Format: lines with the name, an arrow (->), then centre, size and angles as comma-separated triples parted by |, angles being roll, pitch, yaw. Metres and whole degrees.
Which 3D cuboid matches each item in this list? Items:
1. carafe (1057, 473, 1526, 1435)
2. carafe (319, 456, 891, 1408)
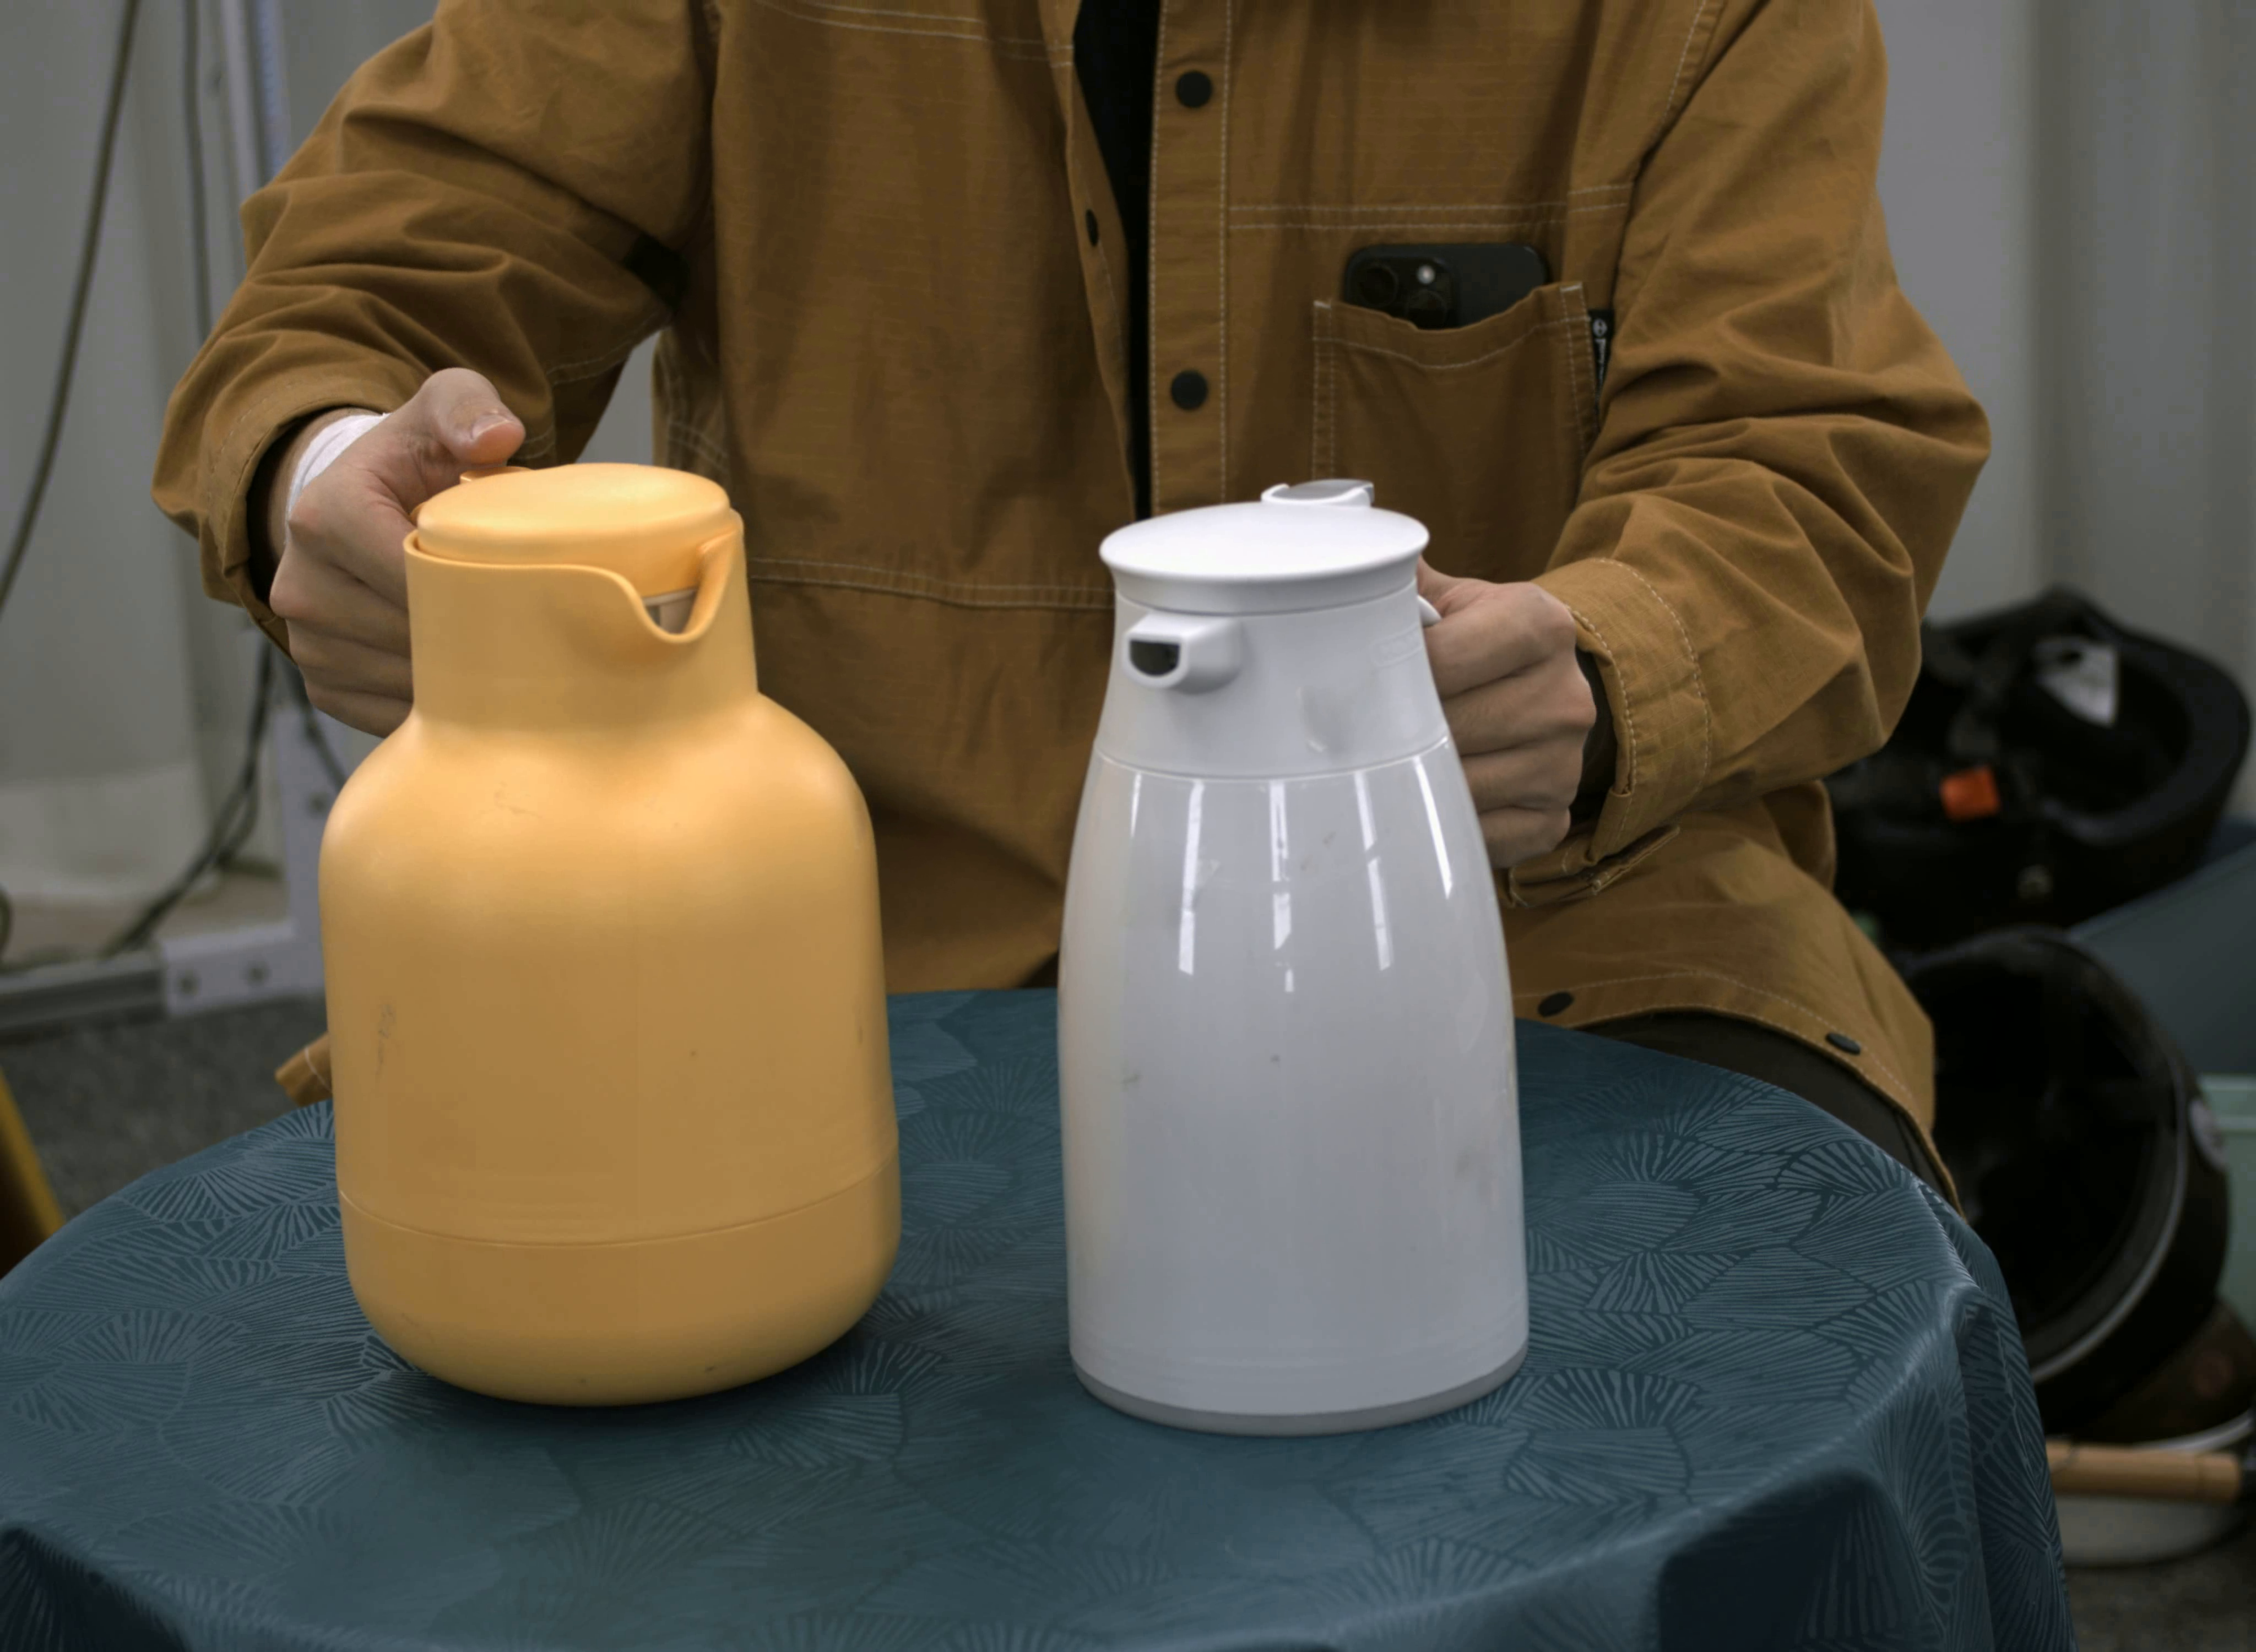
carafe -> 0.052, 0.027, 1.553 | 0.133, 0.248, 0.168 | 5, 15, 30
carafe -> -0.159, 0.022, 1.592 | 0.162, 0.259, 0.204 | -7, 16, -25
